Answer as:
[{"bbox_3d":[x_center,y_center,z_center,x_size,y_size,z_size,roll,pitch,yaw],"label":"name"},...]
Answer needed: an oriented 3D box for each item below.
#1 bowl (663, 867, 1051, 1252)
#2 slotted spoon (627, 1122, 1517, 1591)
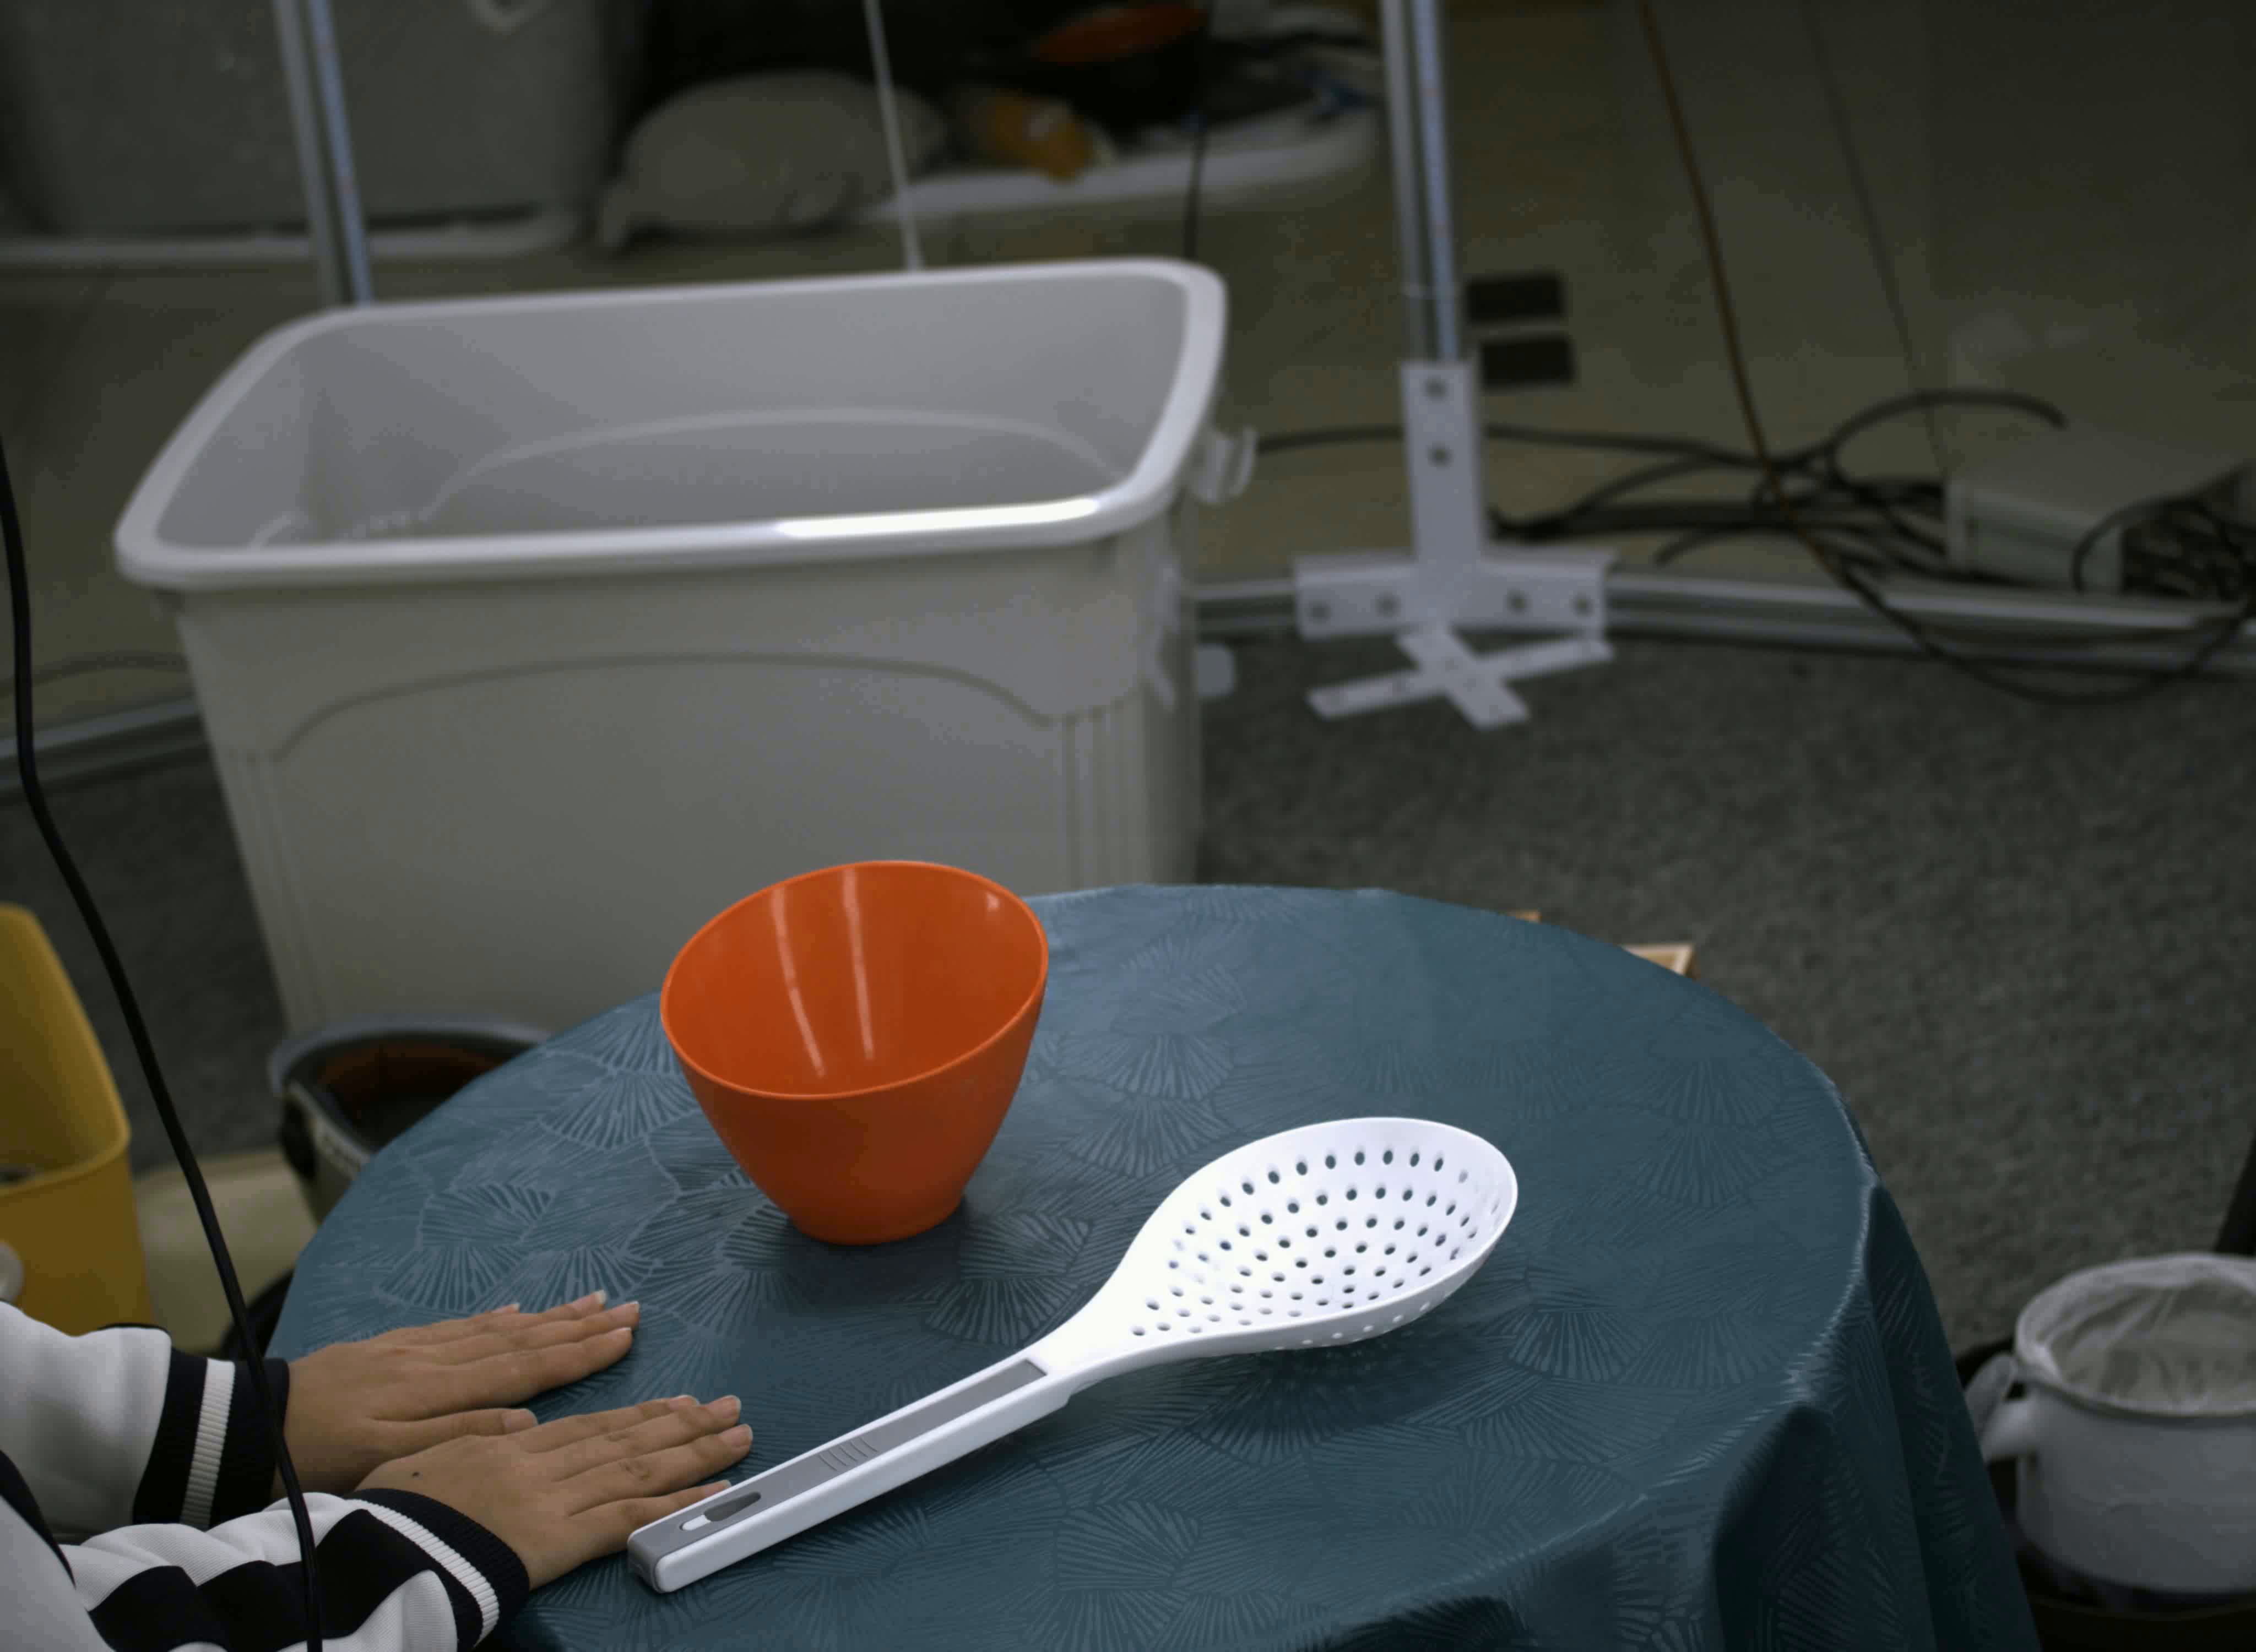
[{"bbox_3d":[-0.099,0.095,2.148,0.148,0.106,0.146,-4,27,2],"label":"bowl"},{"bbox_3d":[-0.018,0.188,1.995,0.348,0.046,0.134,-19,26,-24],"label":"slotted spoon"}]
